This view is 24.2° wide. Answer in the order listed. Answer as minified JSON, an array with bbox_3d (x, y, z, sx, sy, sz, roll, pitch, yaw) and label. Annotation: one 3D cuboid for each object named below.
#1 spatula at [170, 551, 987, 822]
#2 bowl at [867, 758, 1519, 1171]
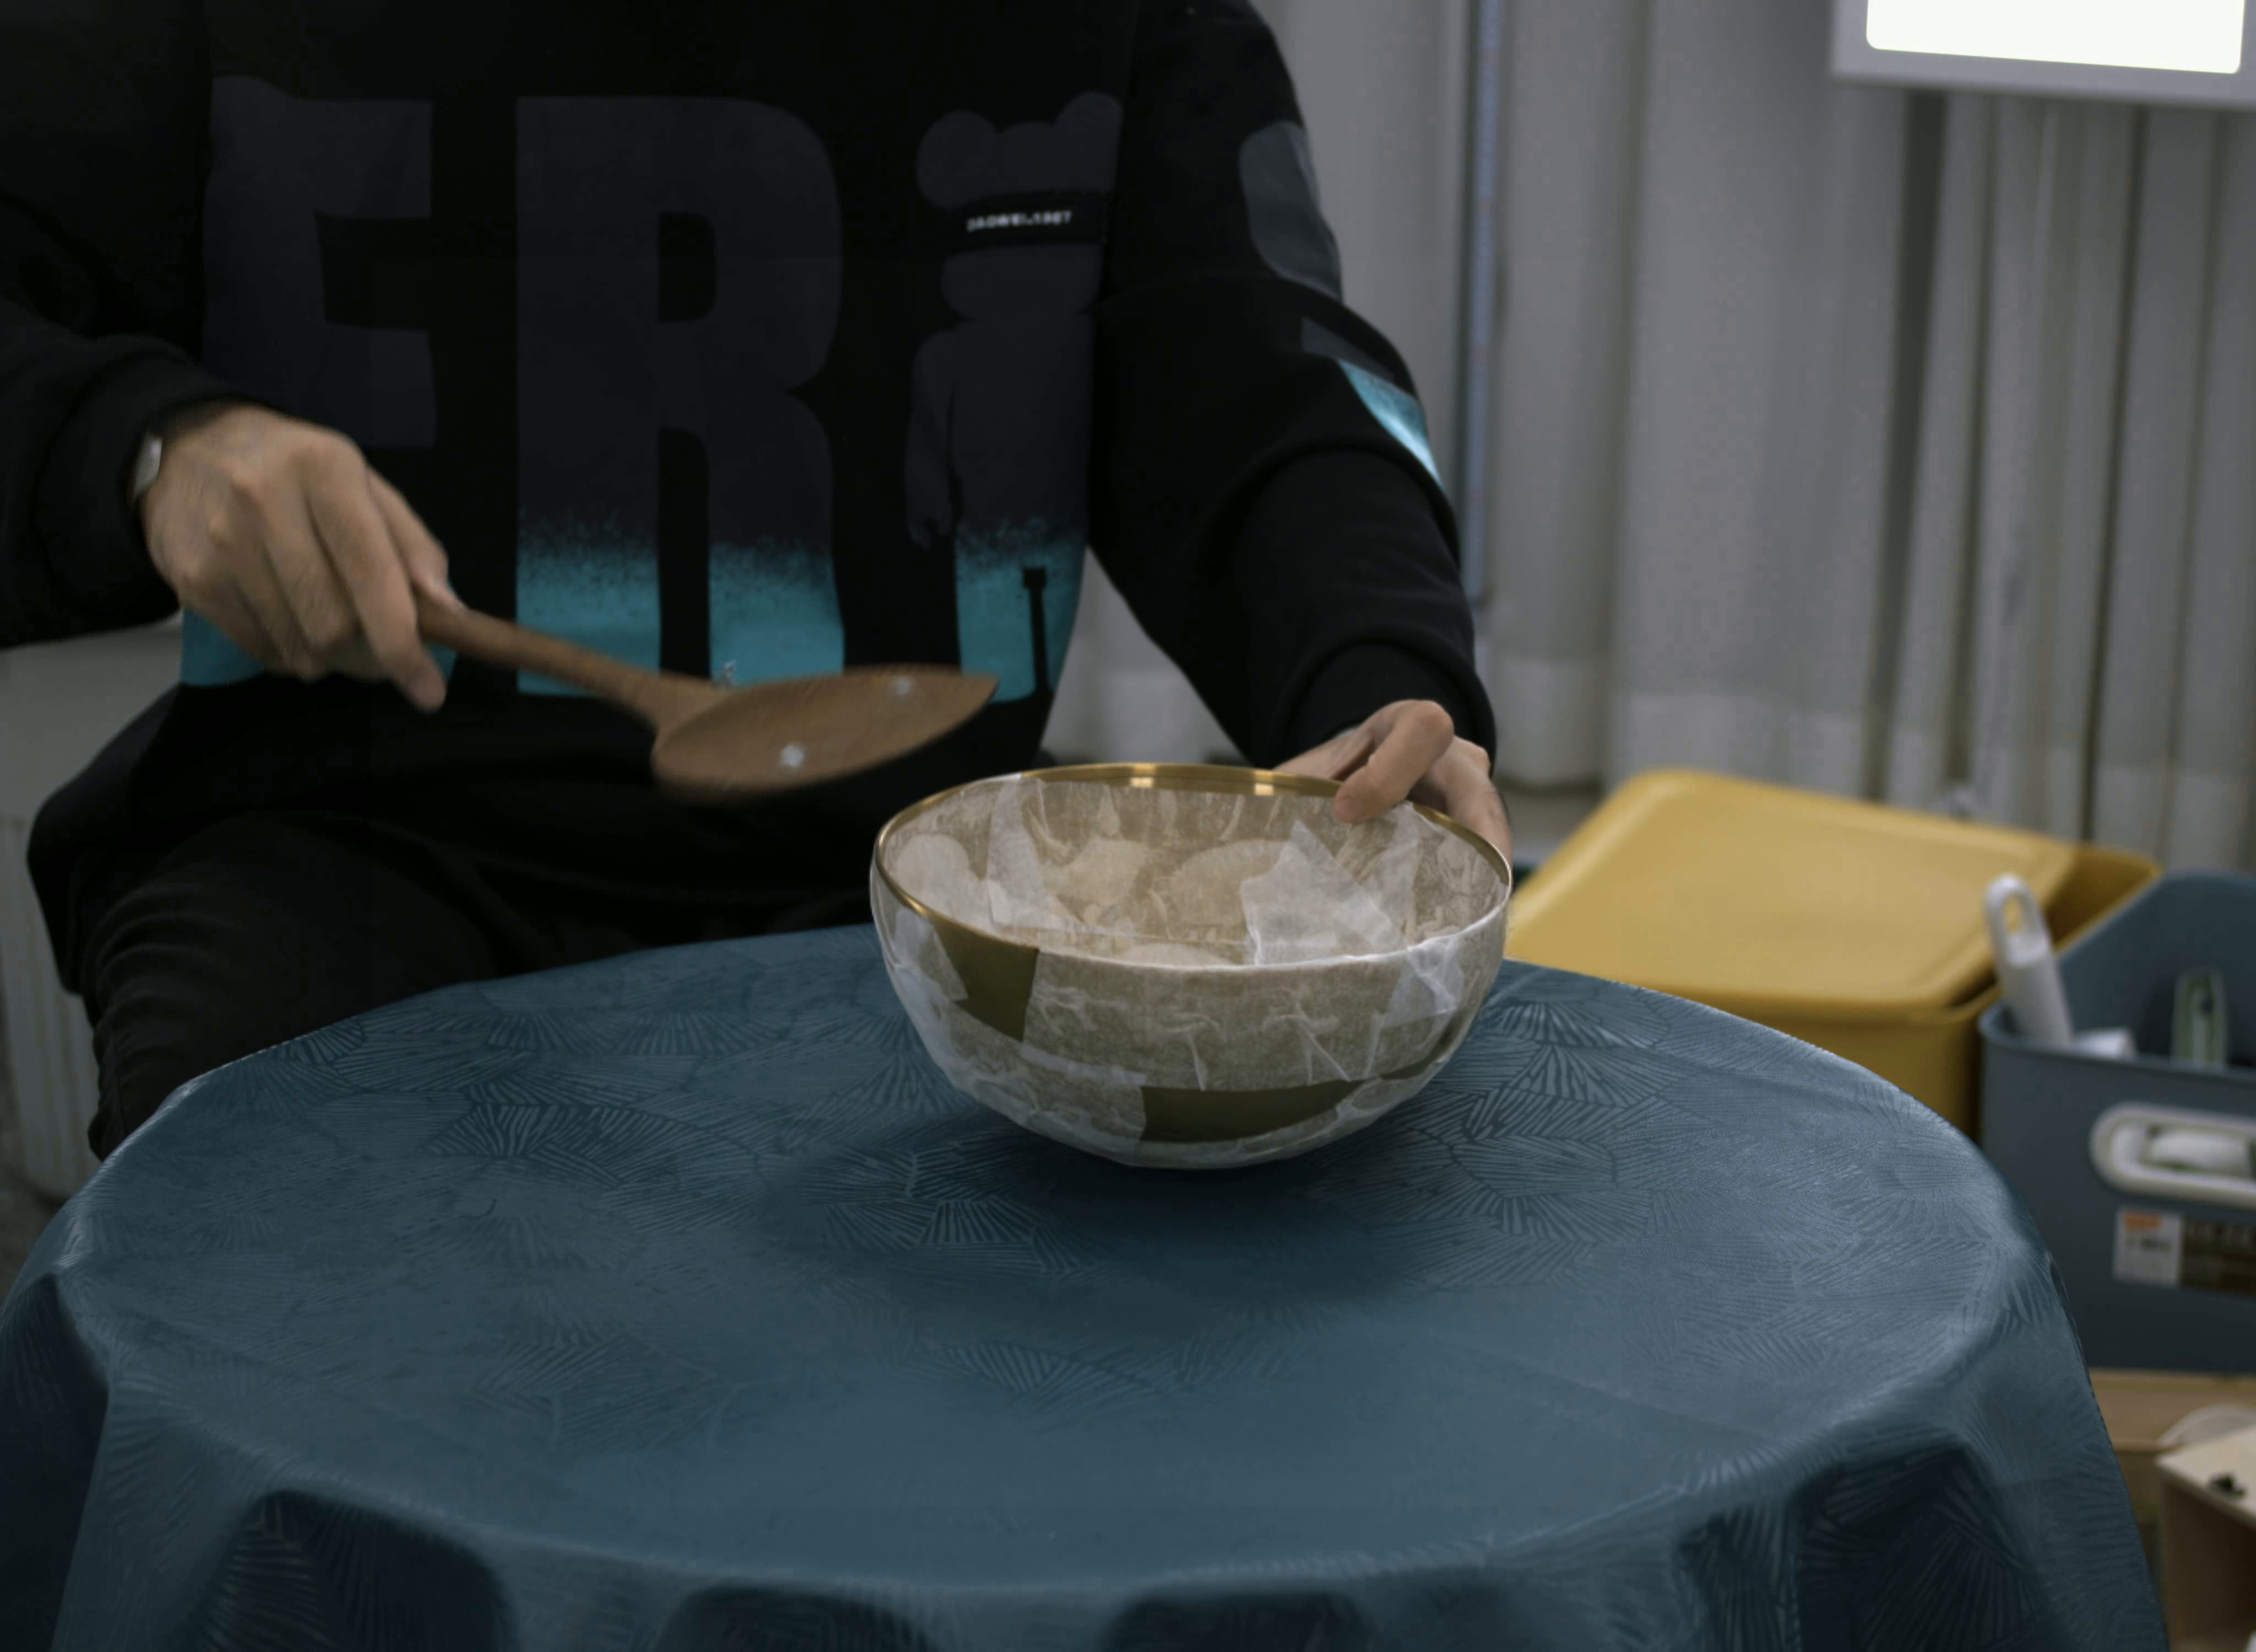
[{"bbox_3d":[-0.190,-0.050,1.625,0.096,0.016,0.381,-25,28,-35],"label":"spatula"},{"bbox_3d":[0.021,0.052,1.651,0.214,0.095,0.213,1,18,0],"label":"bowl"}]
